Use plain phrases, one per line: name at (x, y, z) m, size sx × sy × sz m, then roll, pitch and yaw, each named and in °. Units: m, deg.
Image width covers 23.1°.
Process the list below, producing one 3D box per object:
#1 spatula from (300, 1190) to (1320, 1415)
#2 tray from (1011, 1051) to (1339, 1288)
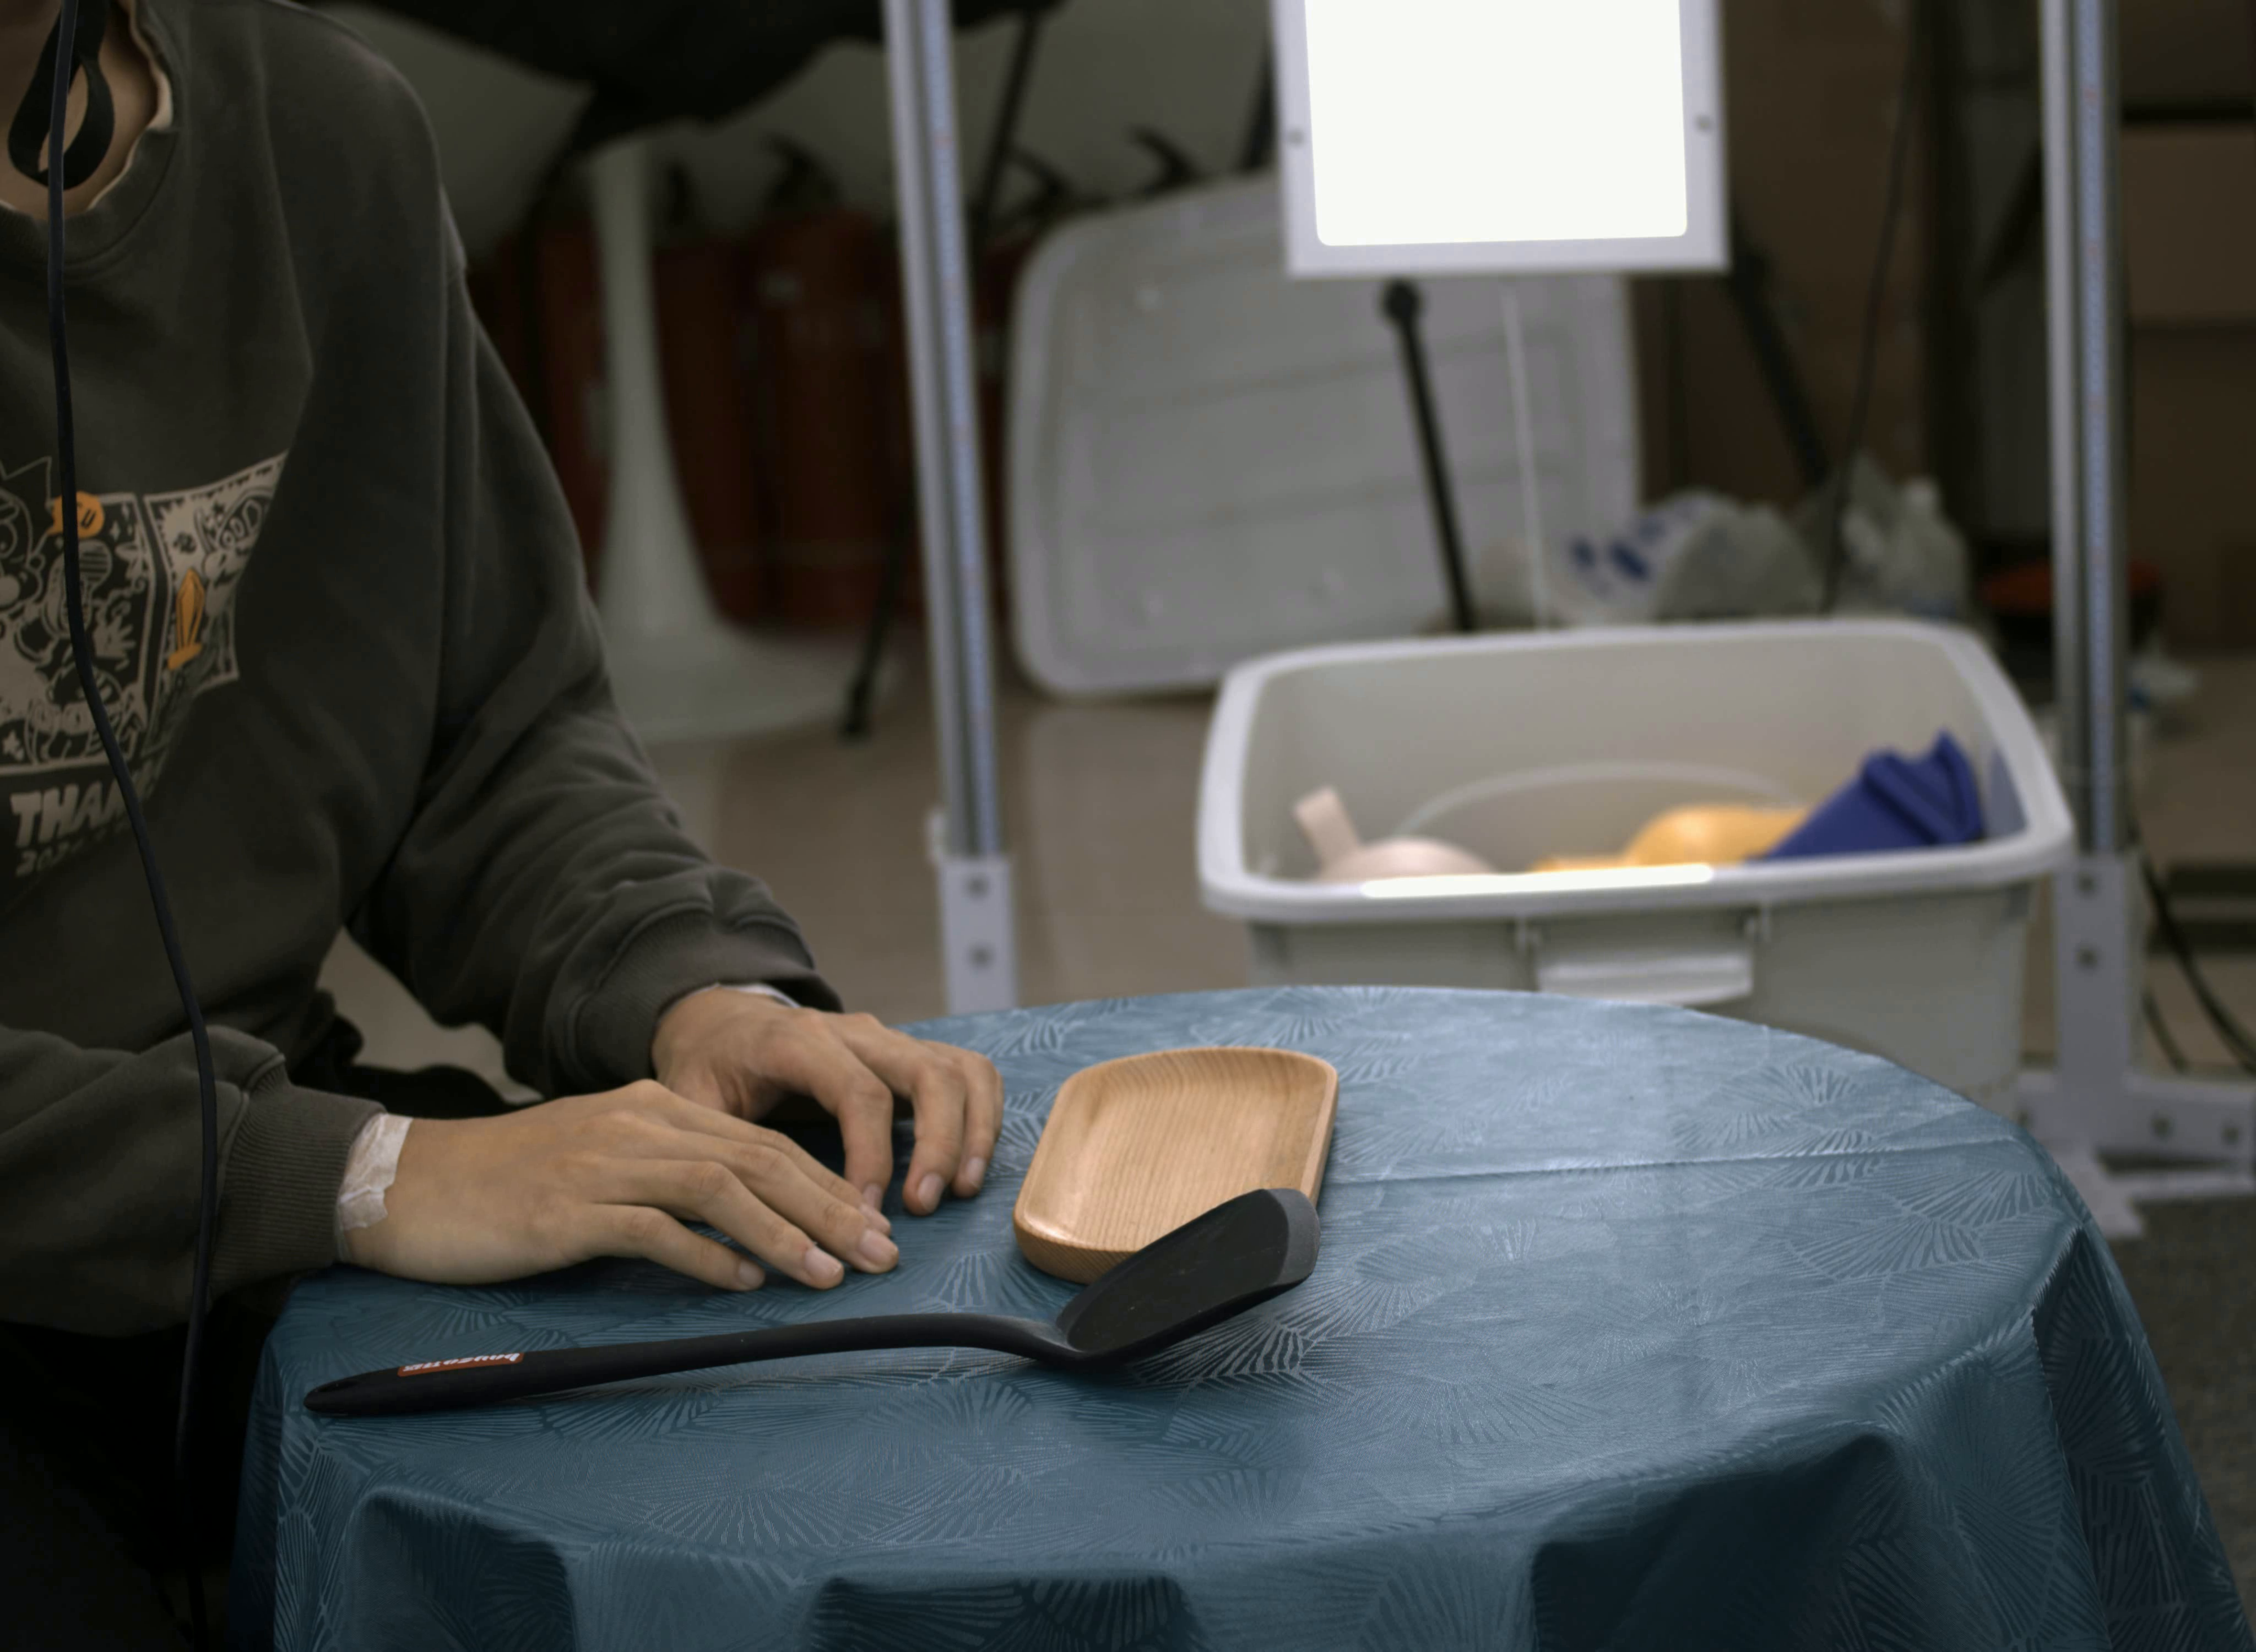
spatula at (-0.100, 0.156, 1.737) m, size 0.326 × 0.040 × 0.099 m, roll -4°, pitch 13°, yaw 3°
tray at (0.019, 0.116, 1.897) m, size 0.102 × 0.020 × 0.229 m, roll -4°, pitch 15°, yaw 8°
